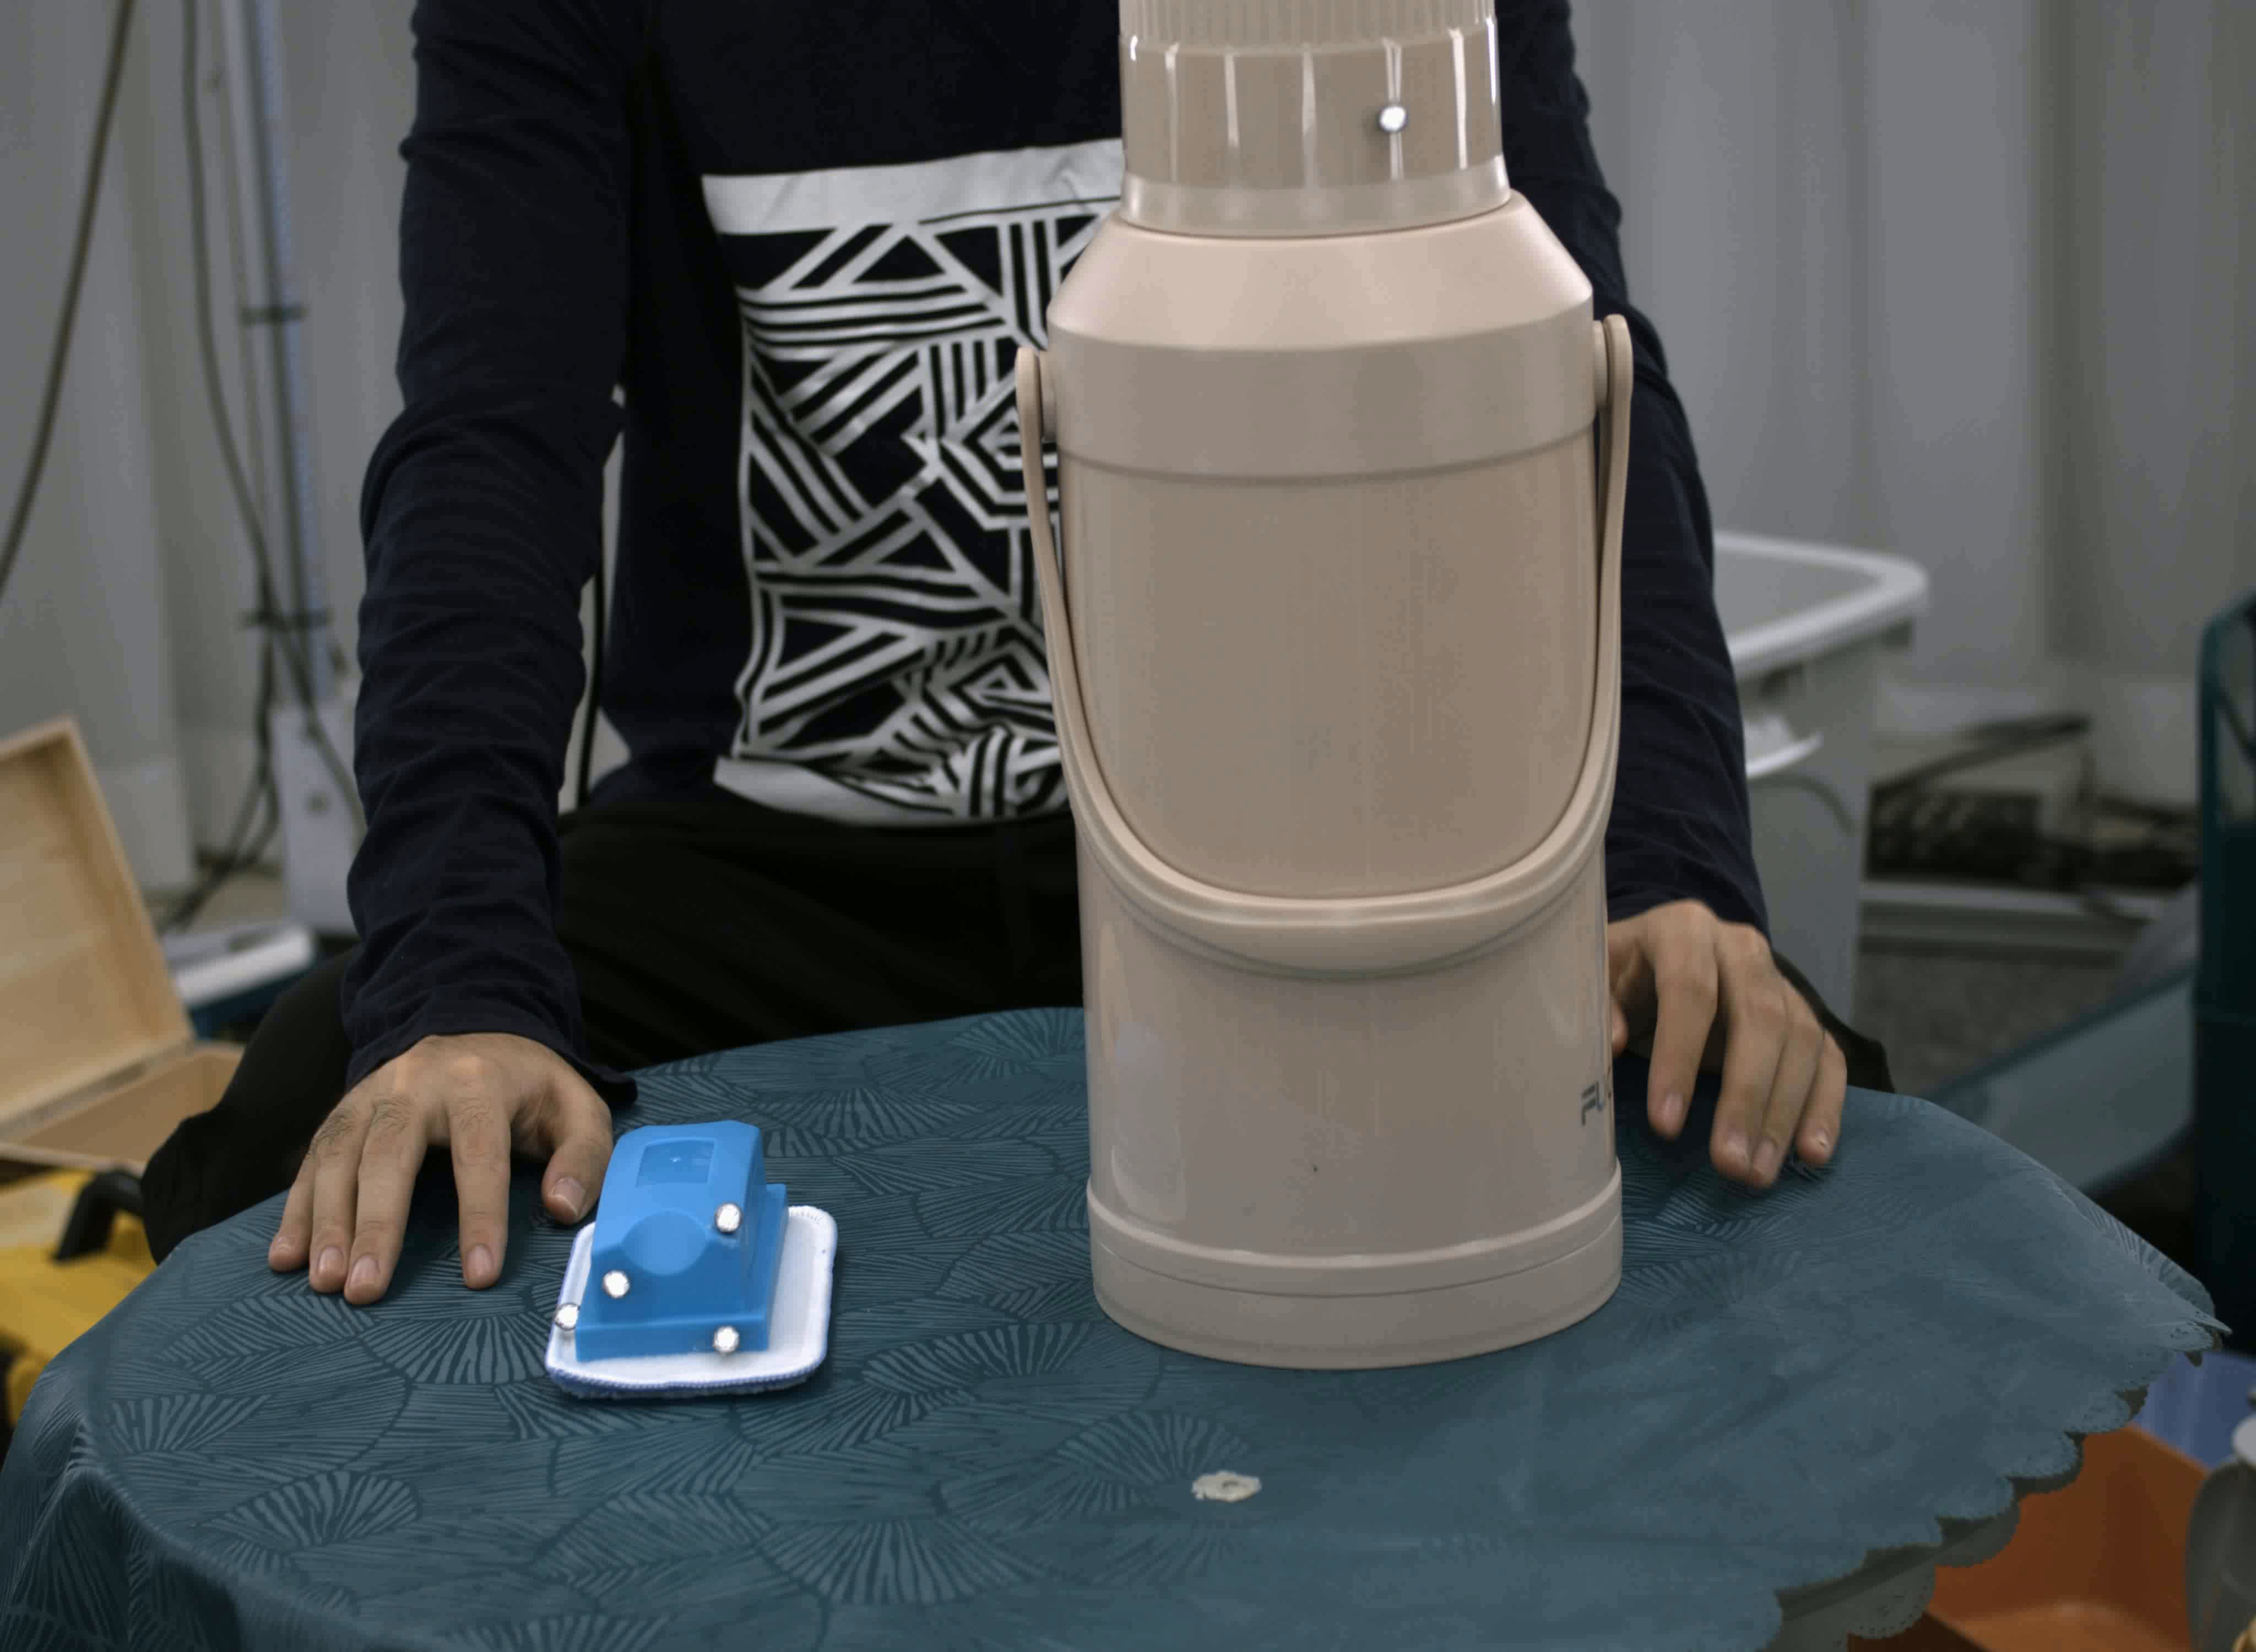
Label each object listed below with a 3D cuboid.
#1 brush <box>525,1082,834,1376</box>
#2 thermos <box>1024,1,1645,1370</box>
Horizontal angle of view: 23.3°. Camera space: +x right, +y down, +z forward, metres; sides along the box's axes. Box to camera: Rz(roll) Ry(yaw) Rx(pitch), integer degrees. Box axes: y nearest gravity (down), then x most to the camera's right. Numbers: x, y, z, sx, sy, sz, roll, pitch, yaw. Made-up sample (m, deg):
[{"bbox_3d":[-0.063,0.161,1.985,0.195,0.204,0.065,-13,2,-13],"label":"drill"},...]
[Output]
[{"bbox_3d":[-0.132,0.116,1.618,0.083,0.055,0.145,1,17,1],"label":"brush"},{"bbox_3d":[0.063,-0.060,1.594,0.175,0.405,0.208,-5,13,-1],"label":"thermos"}]
